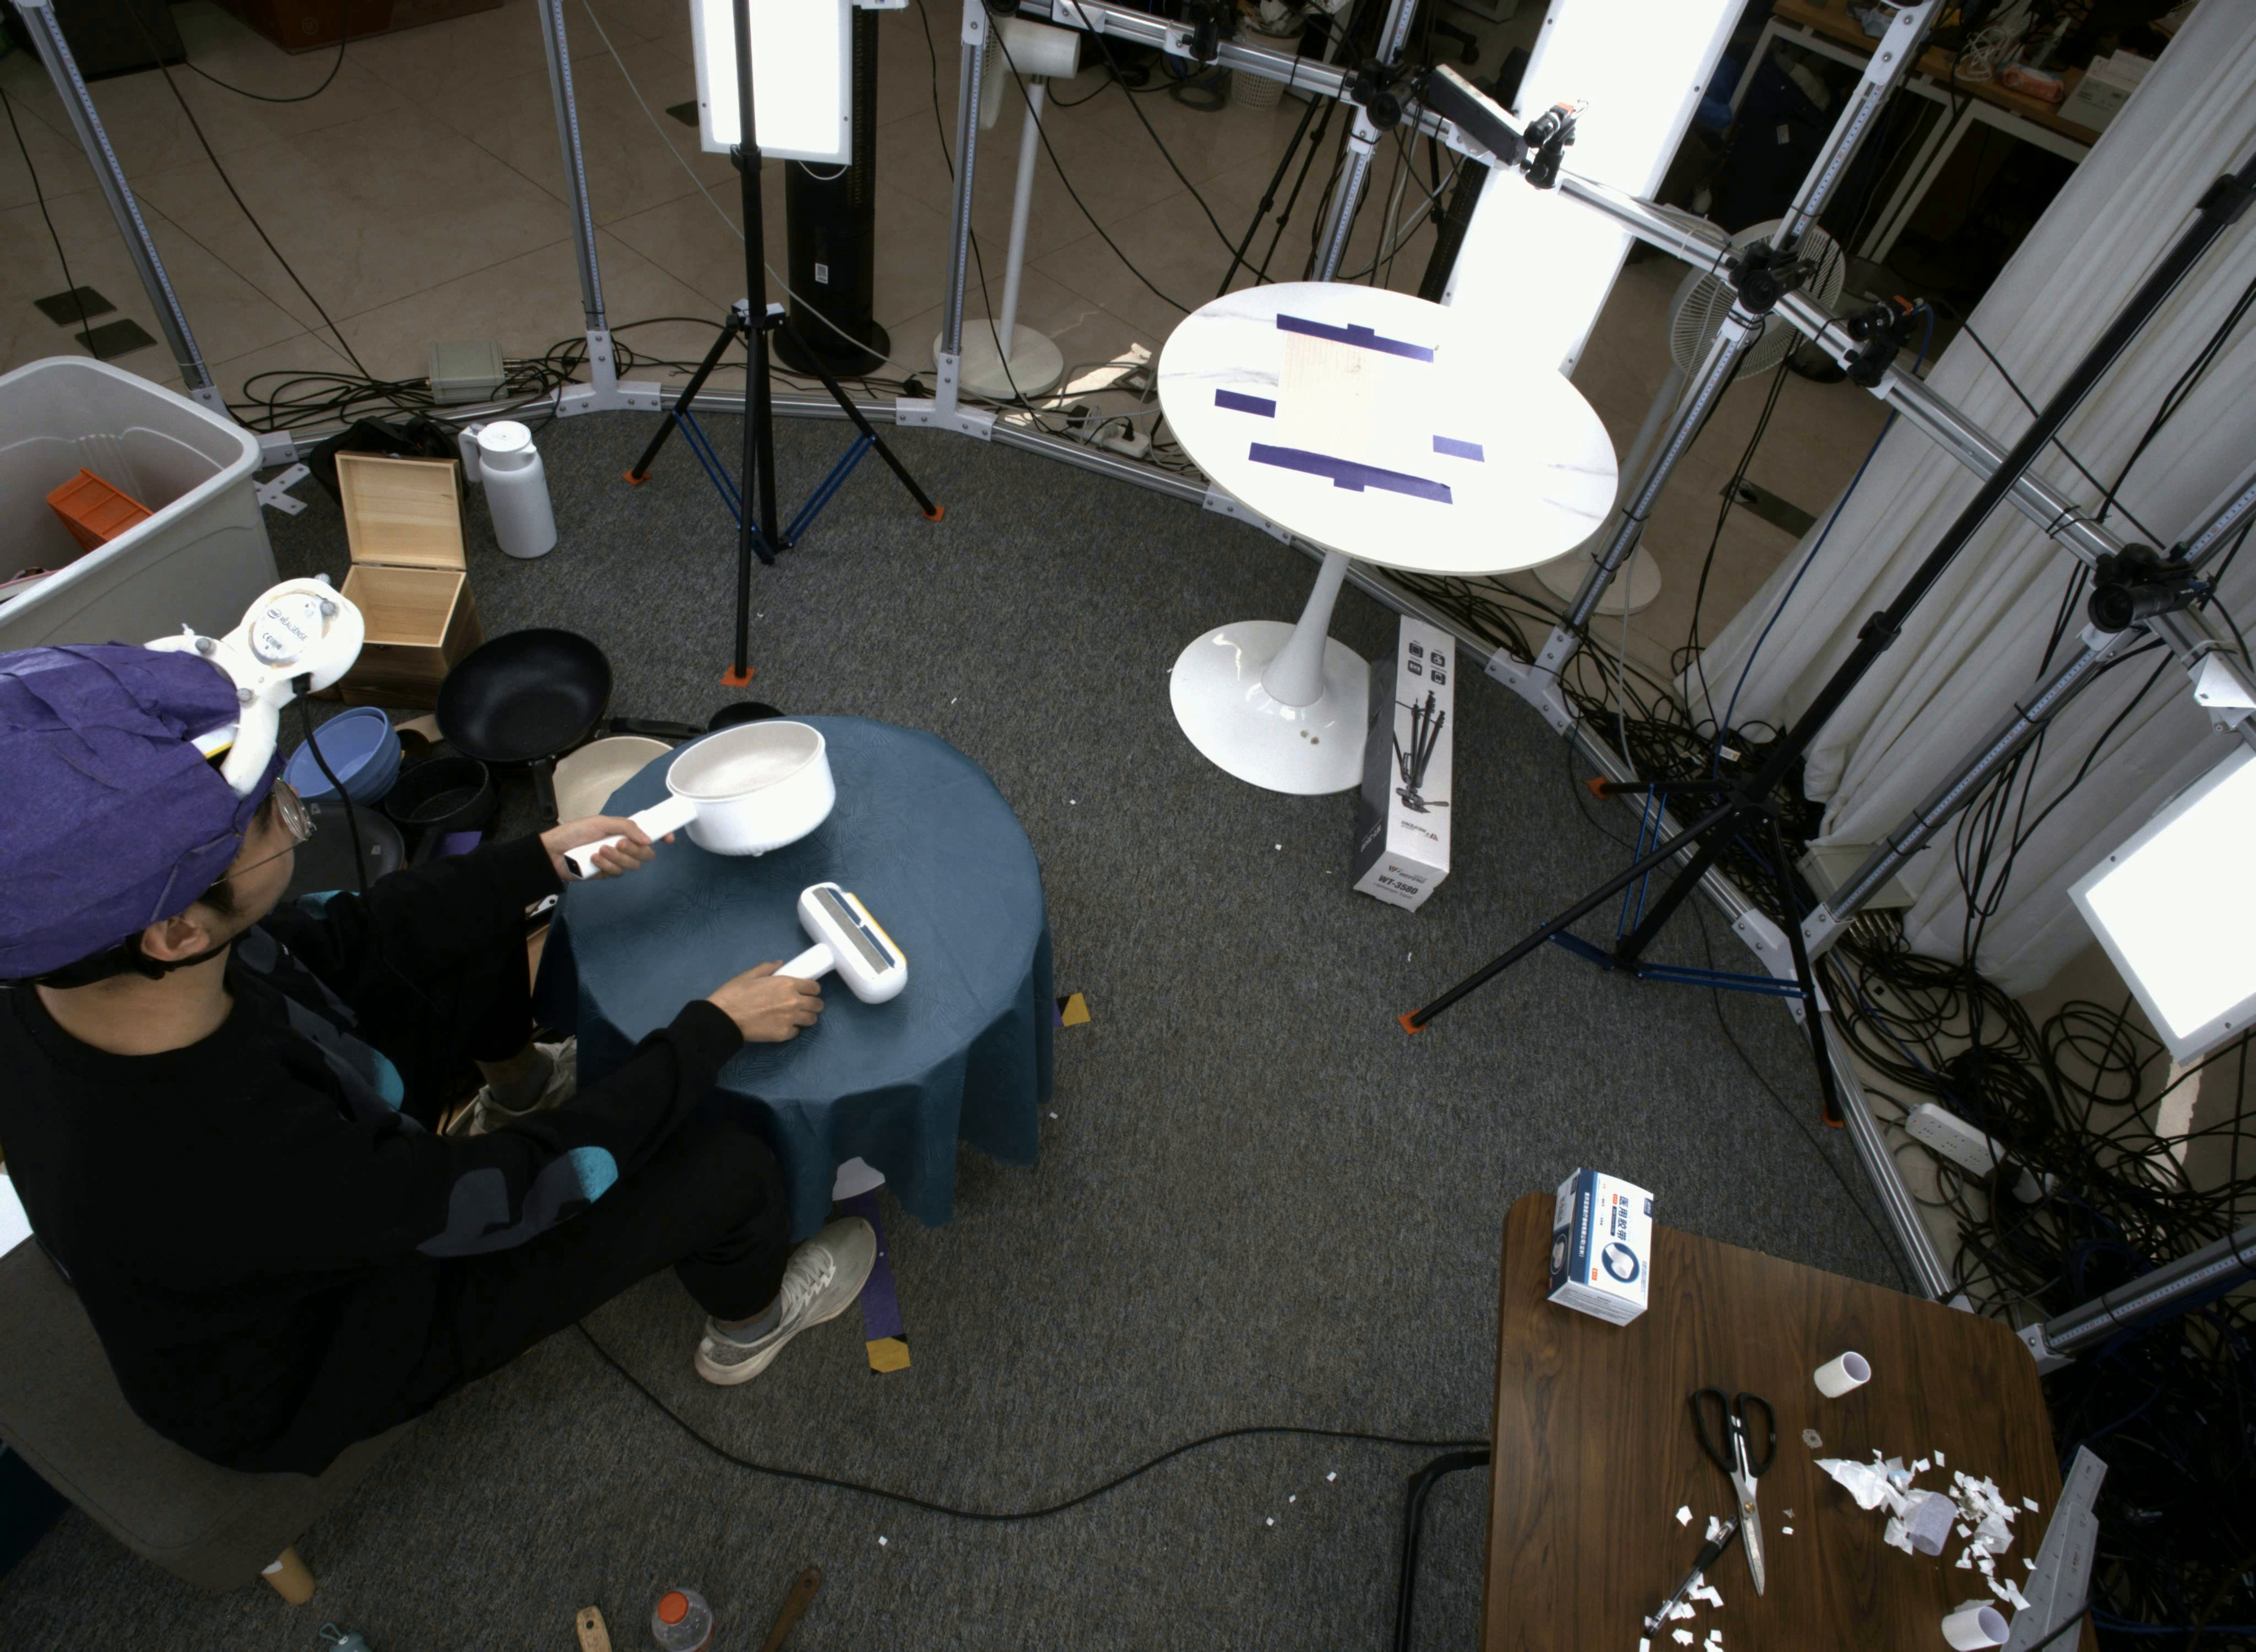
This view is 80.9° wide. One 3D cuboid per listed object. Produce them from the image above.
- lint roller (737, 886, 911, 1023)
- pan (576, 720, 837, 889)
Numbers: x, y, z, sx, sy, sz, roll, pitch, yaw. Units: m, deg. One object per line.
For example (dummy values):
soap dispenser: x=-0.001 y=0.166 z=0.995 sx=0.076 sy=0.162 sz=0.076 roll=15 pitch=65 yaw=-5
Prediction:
lint roller: x=-0.383 y=0.171 z=1.569 sx=0.193 sy=0.076 sz=0.187 roll=-24 pitch=57 yaw=-28
pan: x=-0.521 y=-0.004 z=1.605 sx=0.194 sy=0.106 sz=0.355 roll=21 pitch=43 yaw=33
